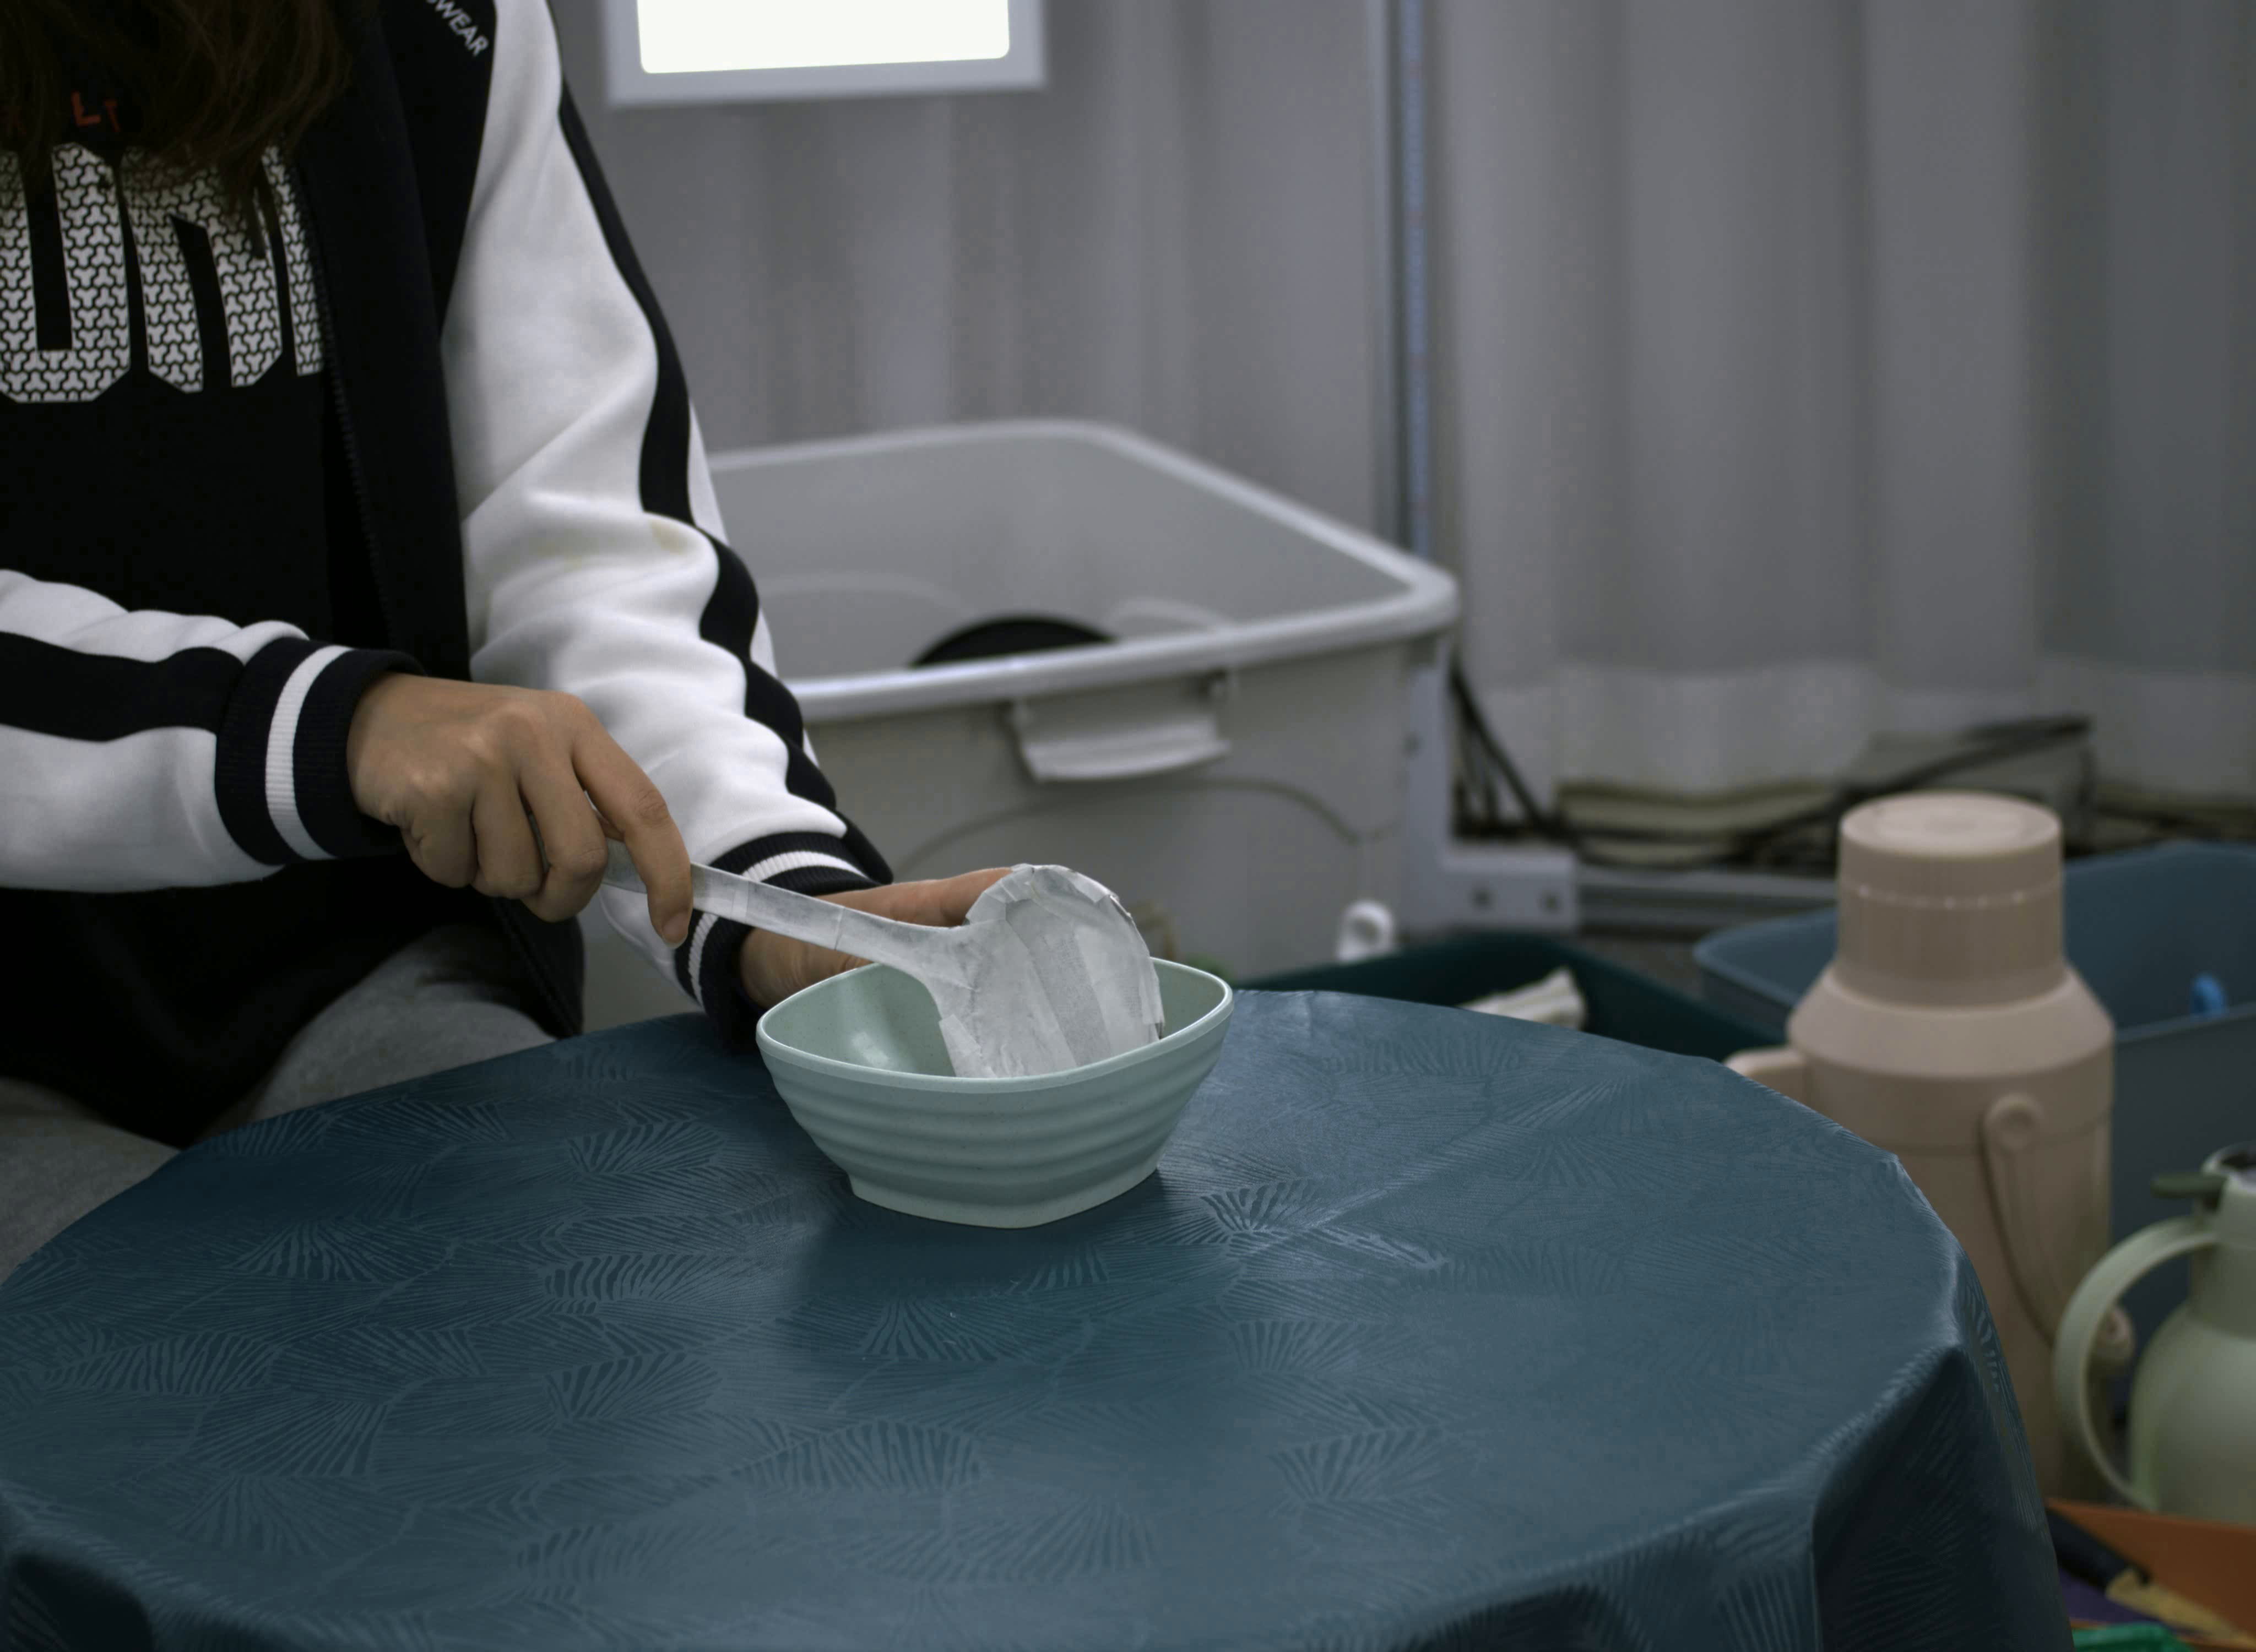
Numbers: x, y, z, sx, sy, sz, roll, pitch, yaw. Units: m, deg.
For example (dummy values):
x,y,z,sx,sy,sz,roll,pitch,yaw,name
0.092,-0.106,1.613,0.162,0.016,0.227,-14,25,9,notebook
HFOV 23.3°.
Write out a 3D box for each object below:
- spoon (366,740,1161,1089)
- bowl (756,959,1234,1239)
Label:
x,y,z,sx,sy,sz,roll,pitch,yaw,name
-0.118,0.023,1.733,0.277,0.100,0.059,19,10,5,spoon
-0.040,0.087,1.725,0.151,0.058,0.152,-3,15,0,bowl
